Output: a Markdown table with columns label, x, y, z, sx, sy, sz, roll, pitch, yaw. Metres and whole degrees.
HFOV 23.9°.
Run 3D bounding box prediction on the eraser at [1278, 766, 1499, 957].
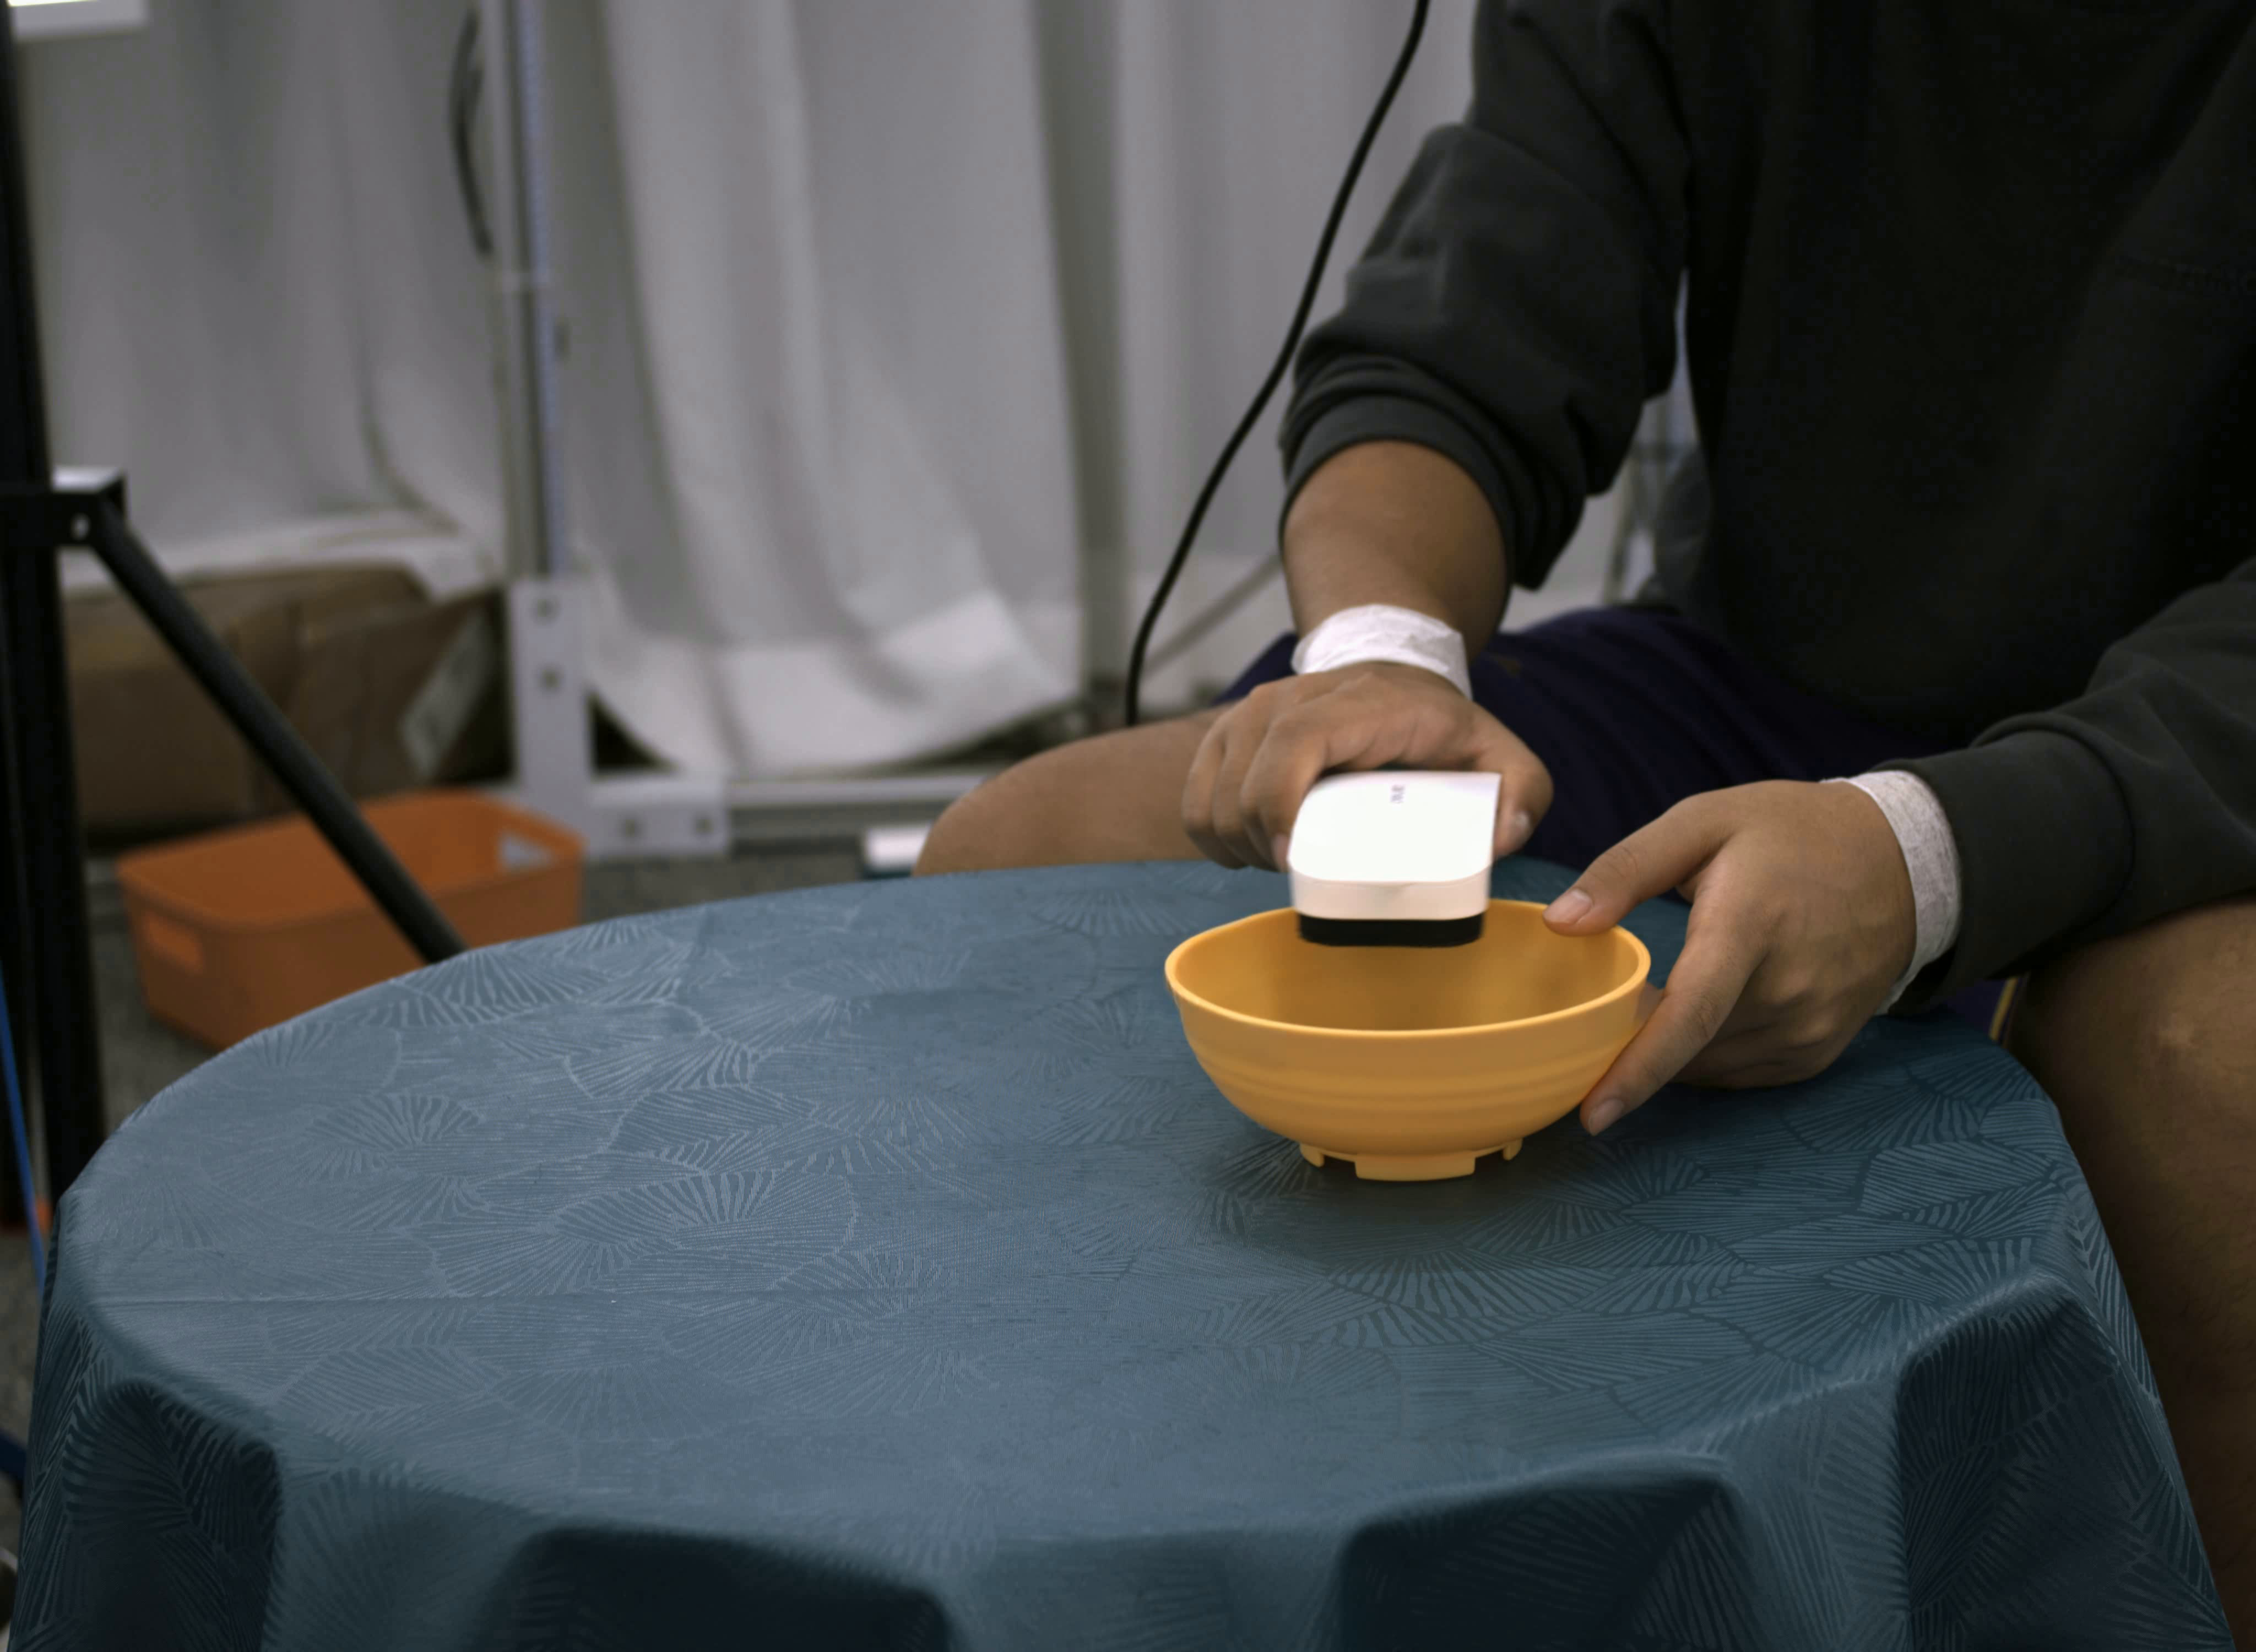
| label | x | y | z | sx | sy | sz | roll | pitch | yaw |
| --- | --- | --- | --- | --- | --- | --- | --- | --- | --- |
| eraser | 0.082 | 0.007 | 1.637 | 0.063 | 0.034 | 0.131 | 1 | 16 | 8 |

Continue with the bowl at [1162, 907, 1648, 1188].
| label | x | y | z | sx | sy | sz | roll | pitch | yaw |
| --- | --- | --- | --- | --- | --- | --- | --- | --- | --- |
| bowl | 0.082 | 0.070 | 1.579 | 0.144 | 0.060 | 0.146 | -1 | 13 | -1 |
